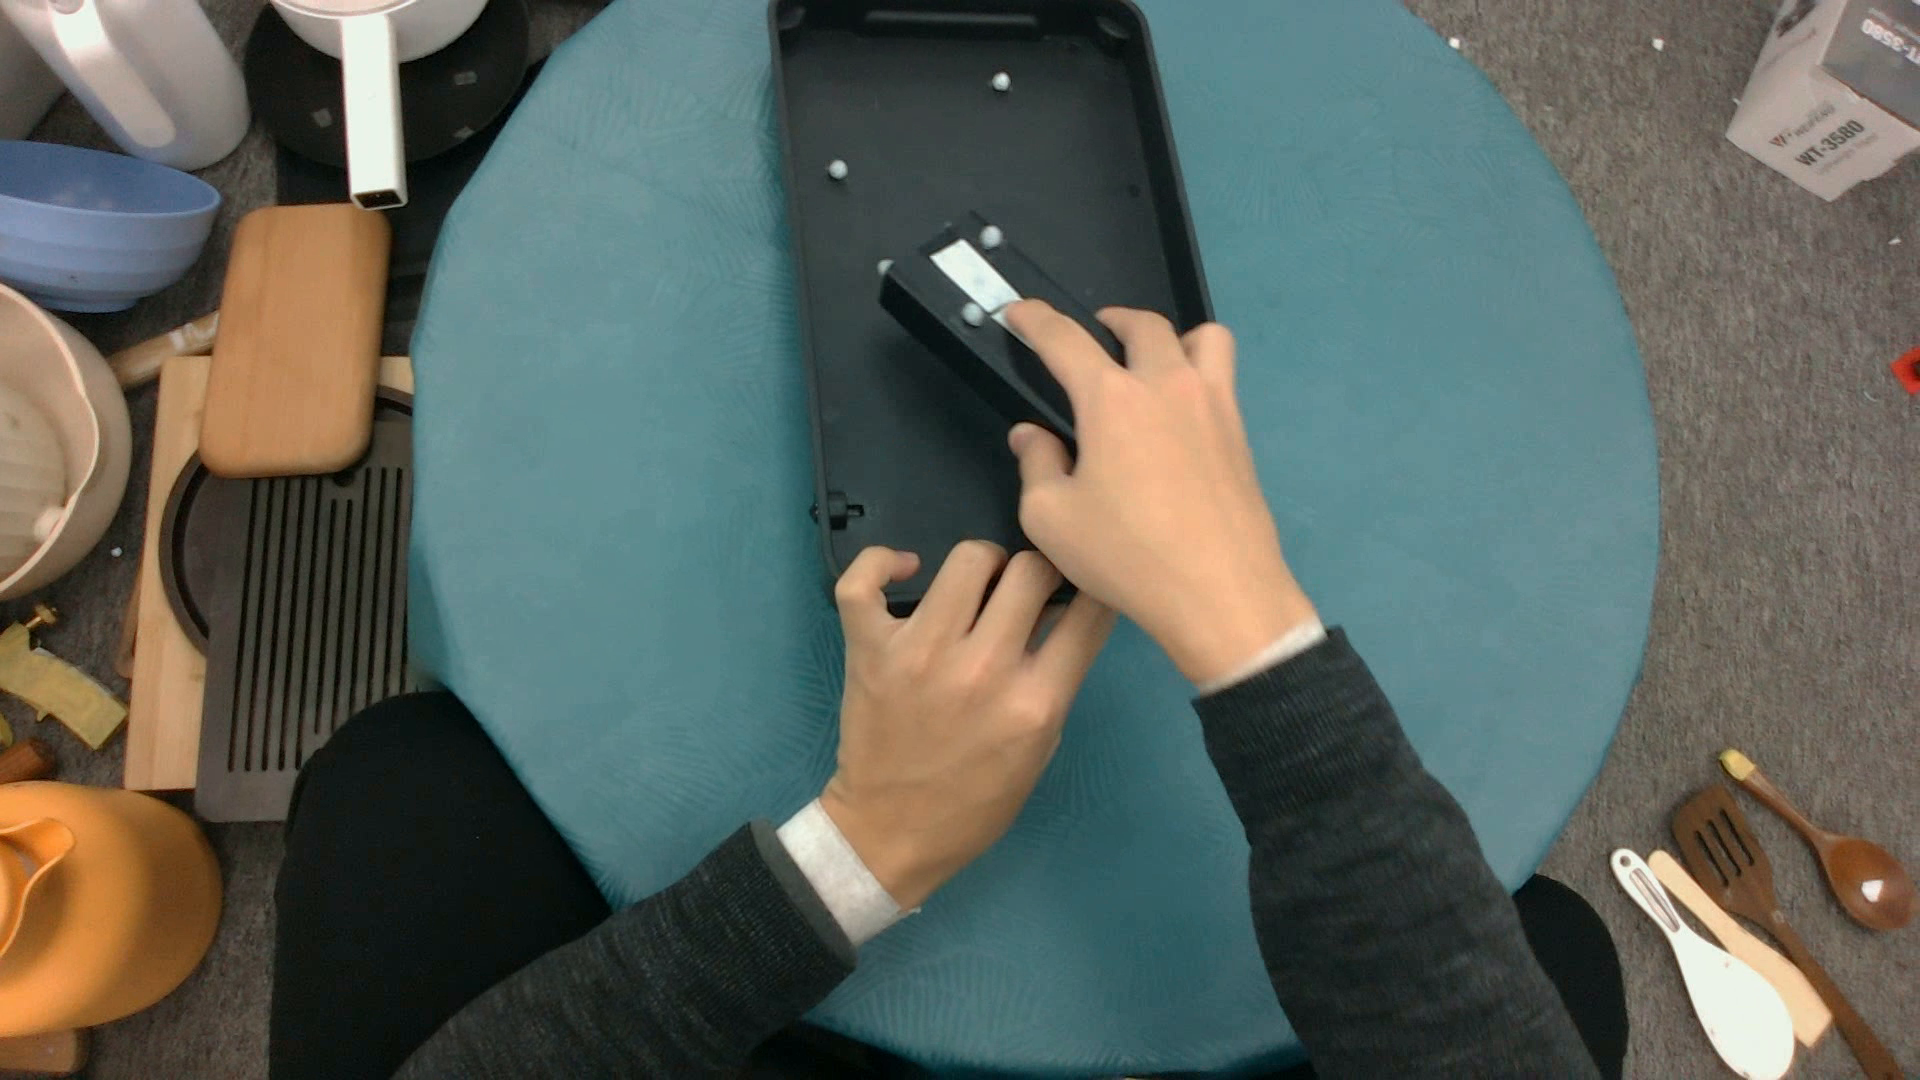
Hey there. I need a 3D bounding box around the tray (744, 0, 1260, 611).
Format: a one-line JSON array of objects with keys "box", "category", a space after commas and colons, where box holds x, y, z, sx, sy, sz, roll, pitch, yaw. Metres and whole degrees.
[{"box": [0.010, -0.125, 0.614, 0.184, 0.037, 0.319, -5, 67, -13], "category": "tray"}]

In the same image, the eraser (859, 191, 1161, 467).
[{"box": [0.019, -0.088, 0.568, 0.054, 0.030, 0.125, -41, 72, -20], "category": "eraser"}]
